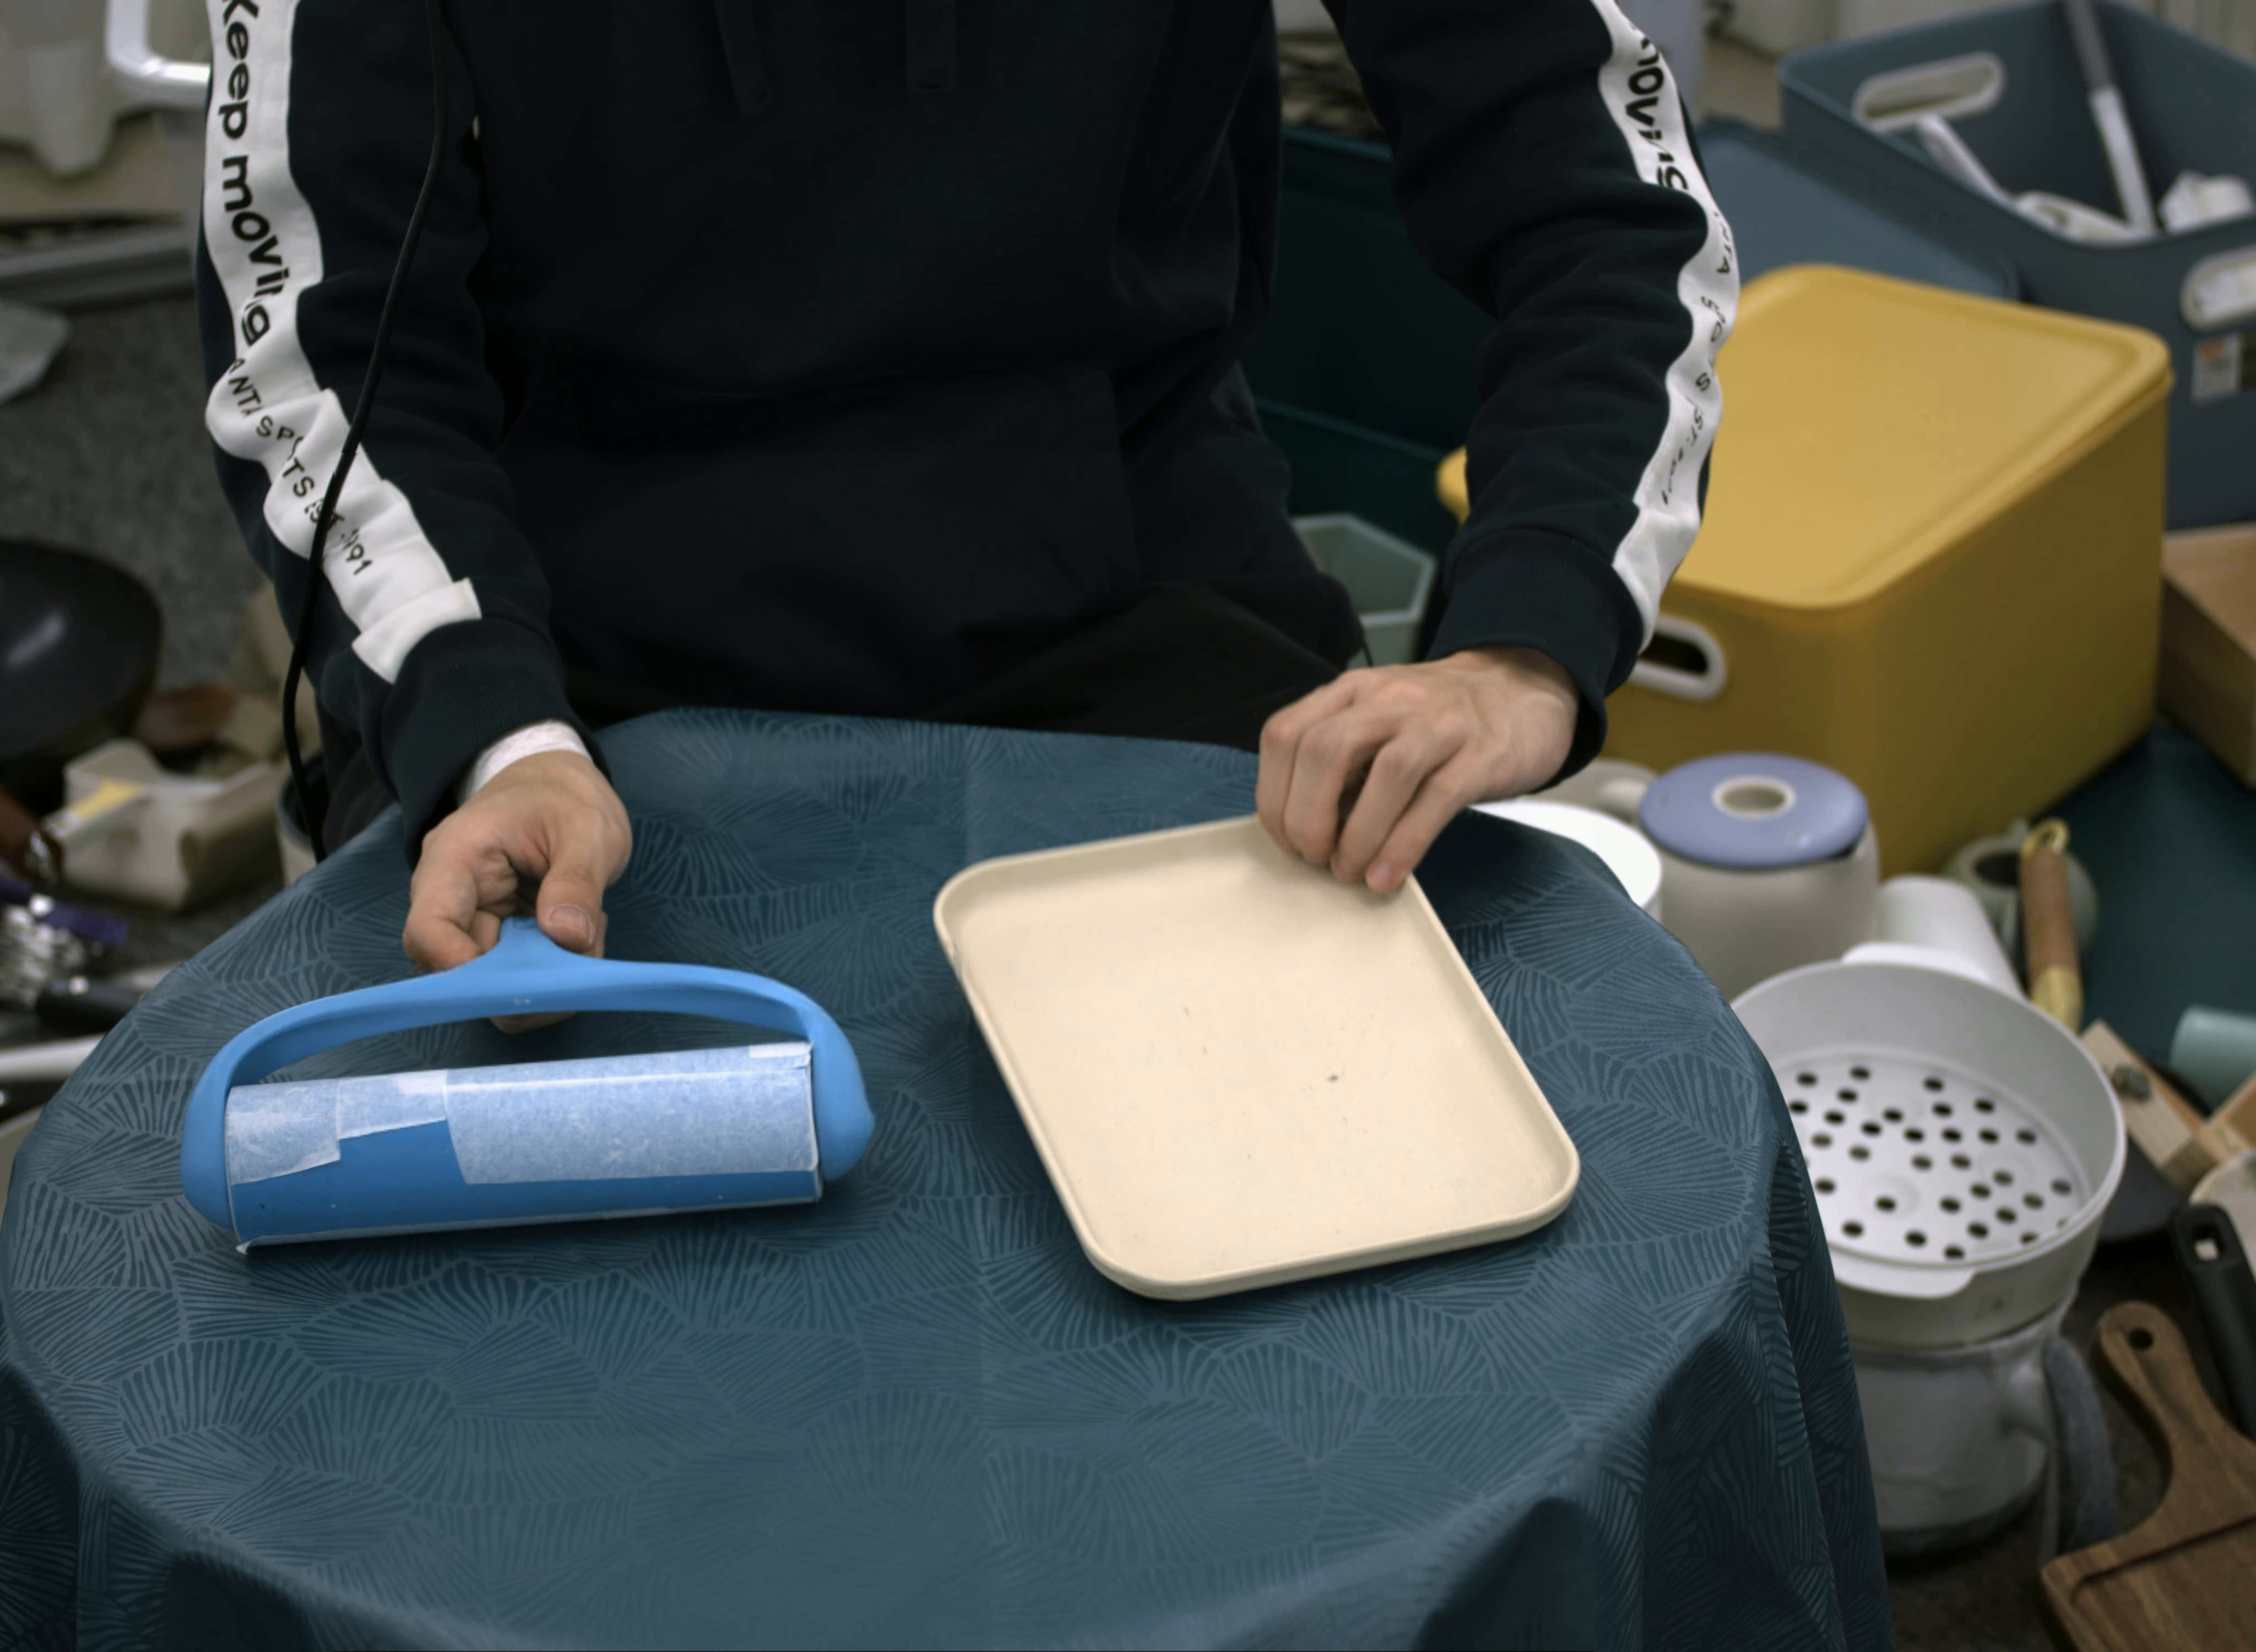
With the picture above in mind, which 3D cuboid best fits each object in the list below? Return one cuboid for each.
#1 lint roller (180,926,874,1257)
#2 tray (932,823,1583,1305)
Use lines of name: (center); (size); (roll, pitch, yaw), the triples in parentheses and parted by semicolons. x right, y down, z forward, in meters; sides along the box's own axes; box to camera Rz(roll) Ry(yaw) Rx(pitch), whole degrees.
lint roller: (-0.204, 0.073, 1.899); (0.228, 0.067, 0.183); (-7, 34, -3)
tray: (0.040, 0.079, 1.892); (0.171, 0.017, 0.242); (-9, 35, -15)
